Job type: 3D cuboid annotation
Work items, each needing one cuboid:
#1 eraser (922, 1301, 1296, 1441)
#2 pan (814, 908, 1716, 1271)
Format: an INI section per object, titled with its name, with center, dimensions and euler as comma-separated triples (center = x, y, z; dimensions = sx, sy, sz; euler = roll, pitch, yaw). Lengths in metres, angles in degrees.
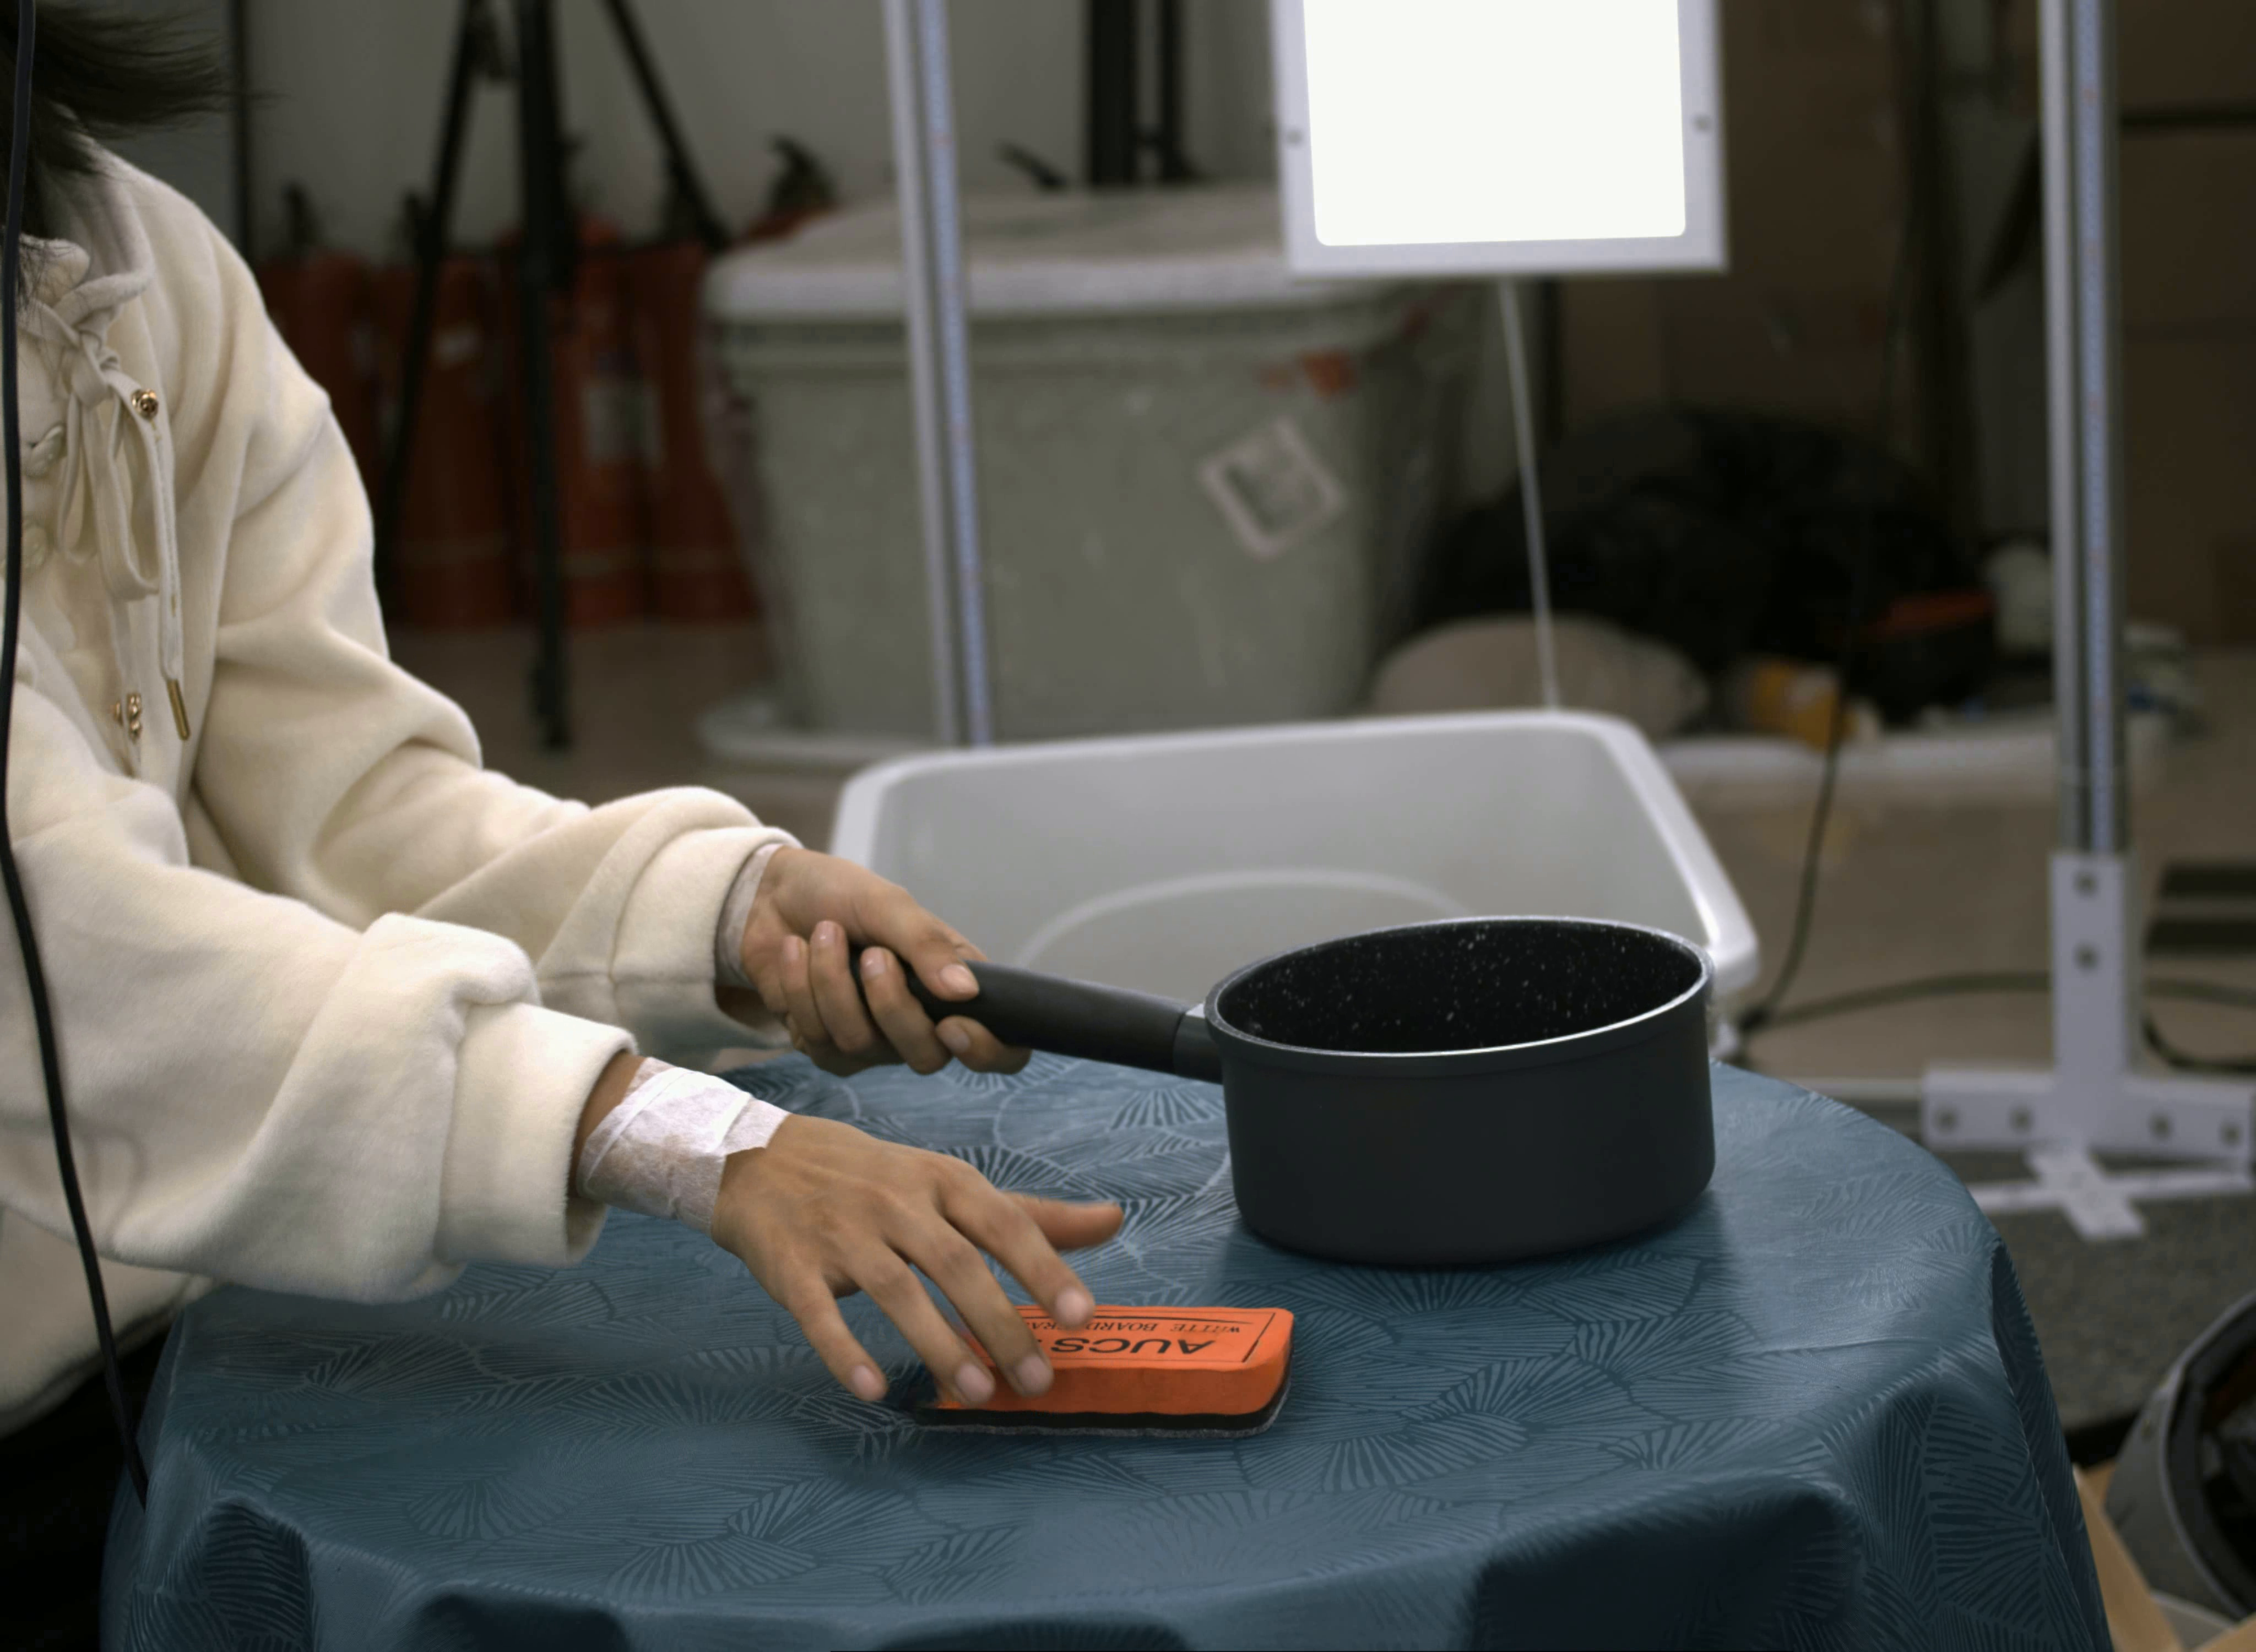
[eraser]
center = -0.005, 0.167, 1.688
dimensions = 0.109, 0.023, 0.058
euler = -1, 16, 19
[pan]
center = 0.043, 0.083, 1.883
dimensions = 0.334, 0.087, 0.168
euler = 3, 15, 27
